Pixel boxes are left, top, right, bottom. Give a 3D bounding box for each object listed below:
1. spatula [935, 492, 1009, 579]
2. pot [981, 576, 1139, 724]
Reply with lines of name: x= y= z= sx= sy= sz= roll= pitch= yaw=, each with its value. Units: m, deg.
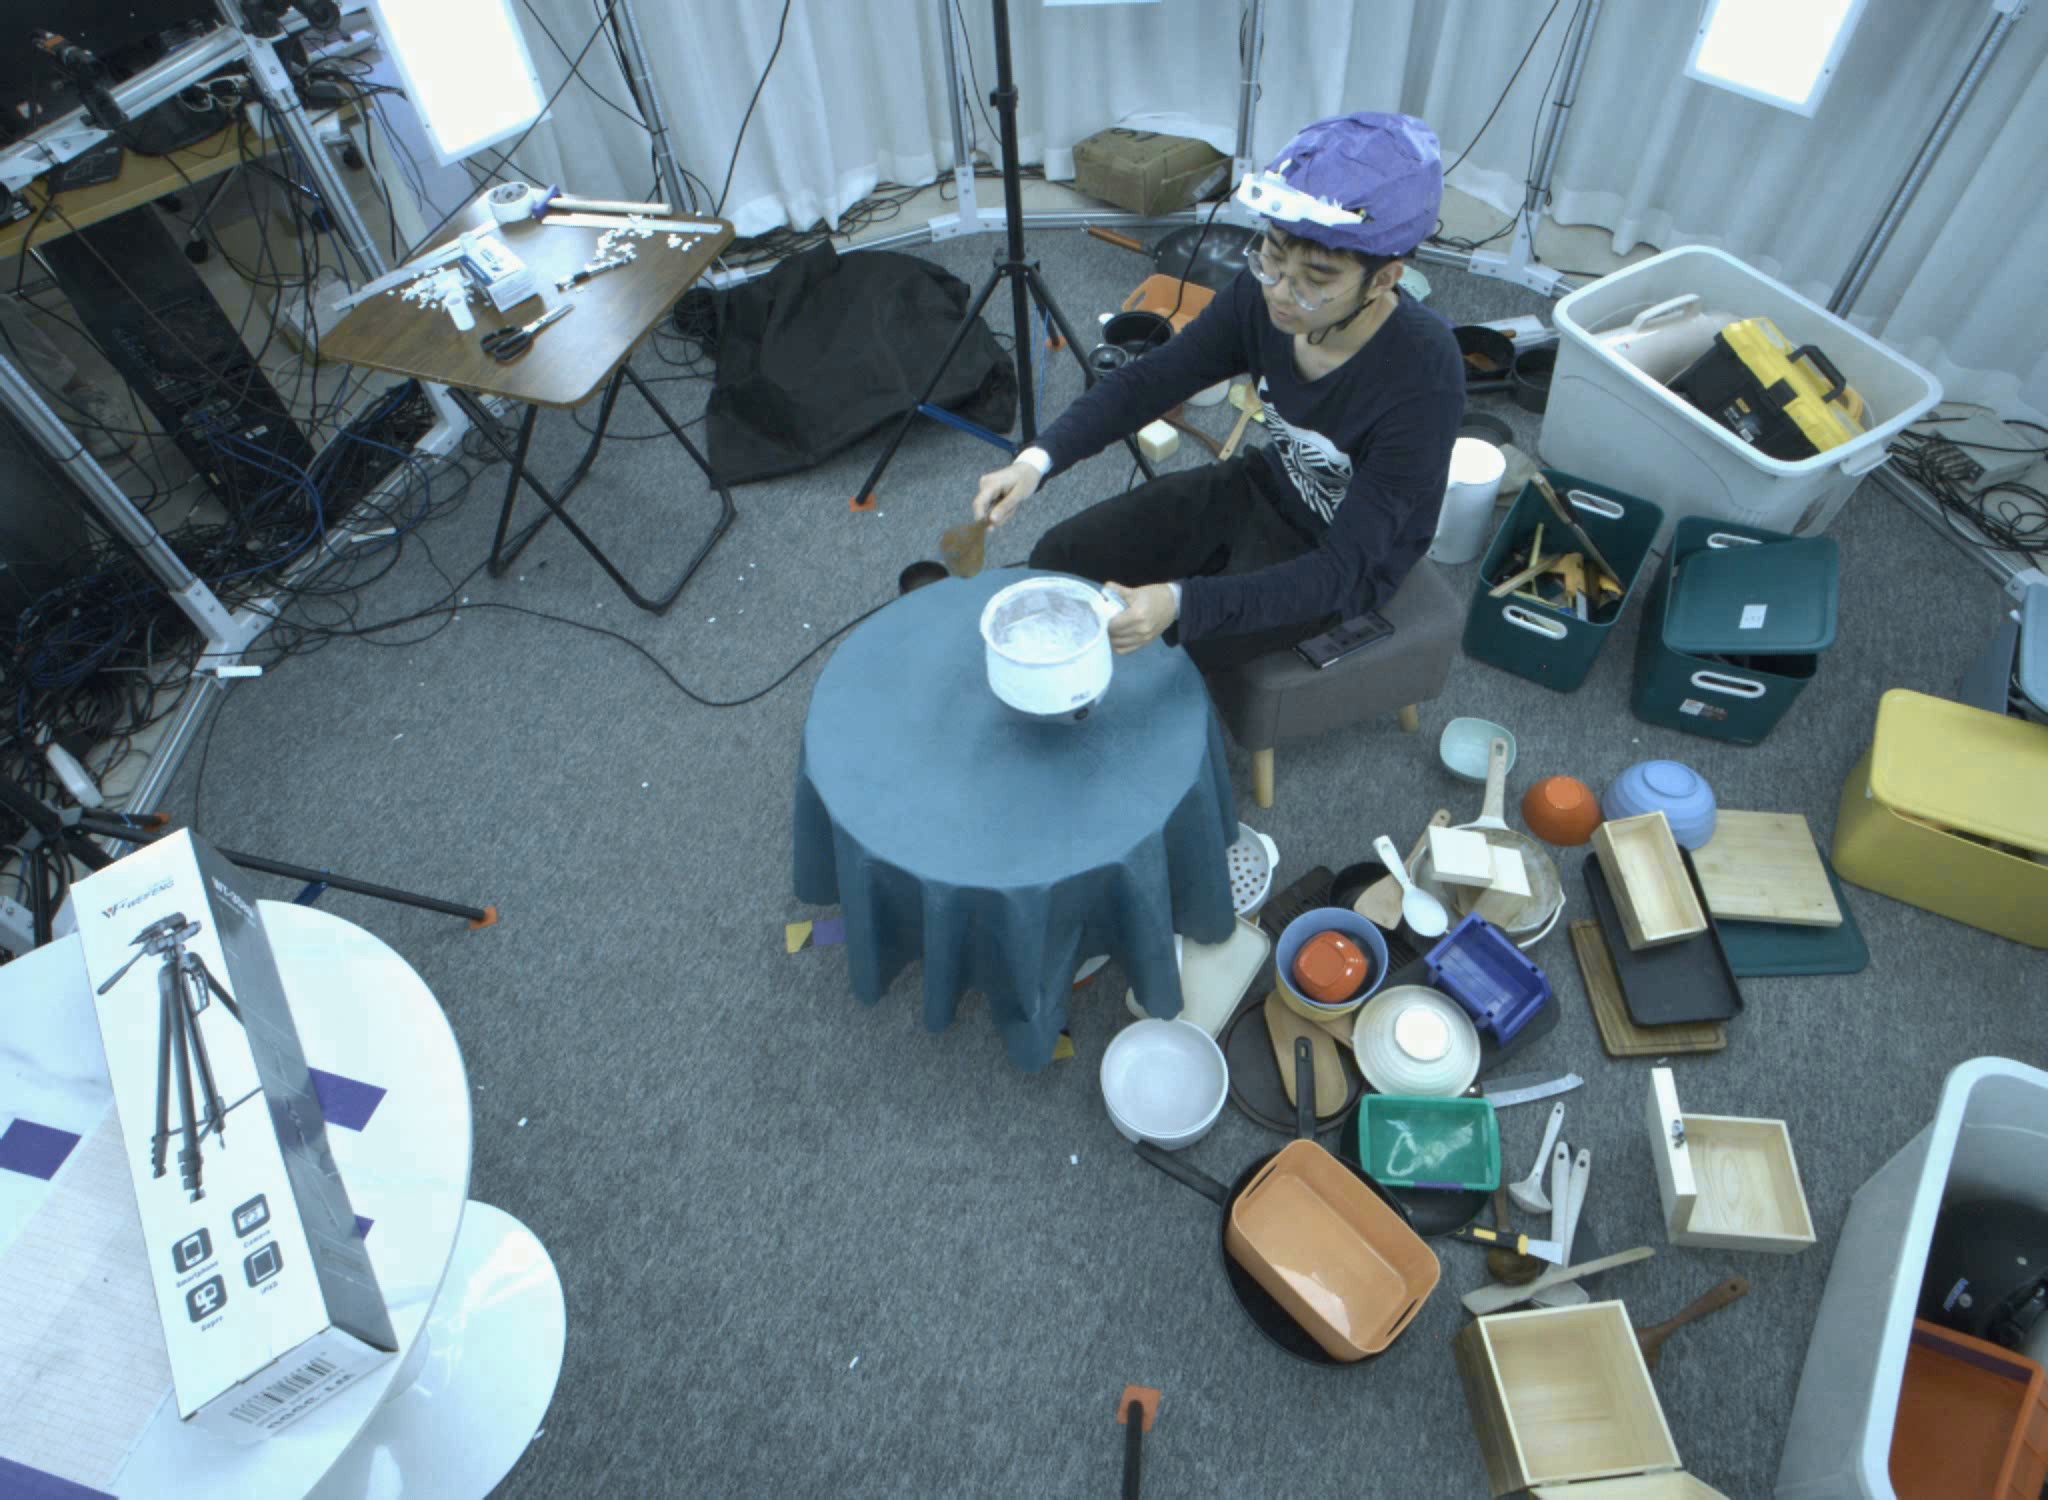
spatula: x=-0.066 y=-0.312 z=1.741 sx=0.009 sy=0.073 sz=0.216 roll=-21 pitch=25 yaw=39
pot: x=0.058 y=-0.150 z=1.741 sx=0.235 sy=0.138 sz=0.175 roll=-27 pitch=54 yaw=-17
